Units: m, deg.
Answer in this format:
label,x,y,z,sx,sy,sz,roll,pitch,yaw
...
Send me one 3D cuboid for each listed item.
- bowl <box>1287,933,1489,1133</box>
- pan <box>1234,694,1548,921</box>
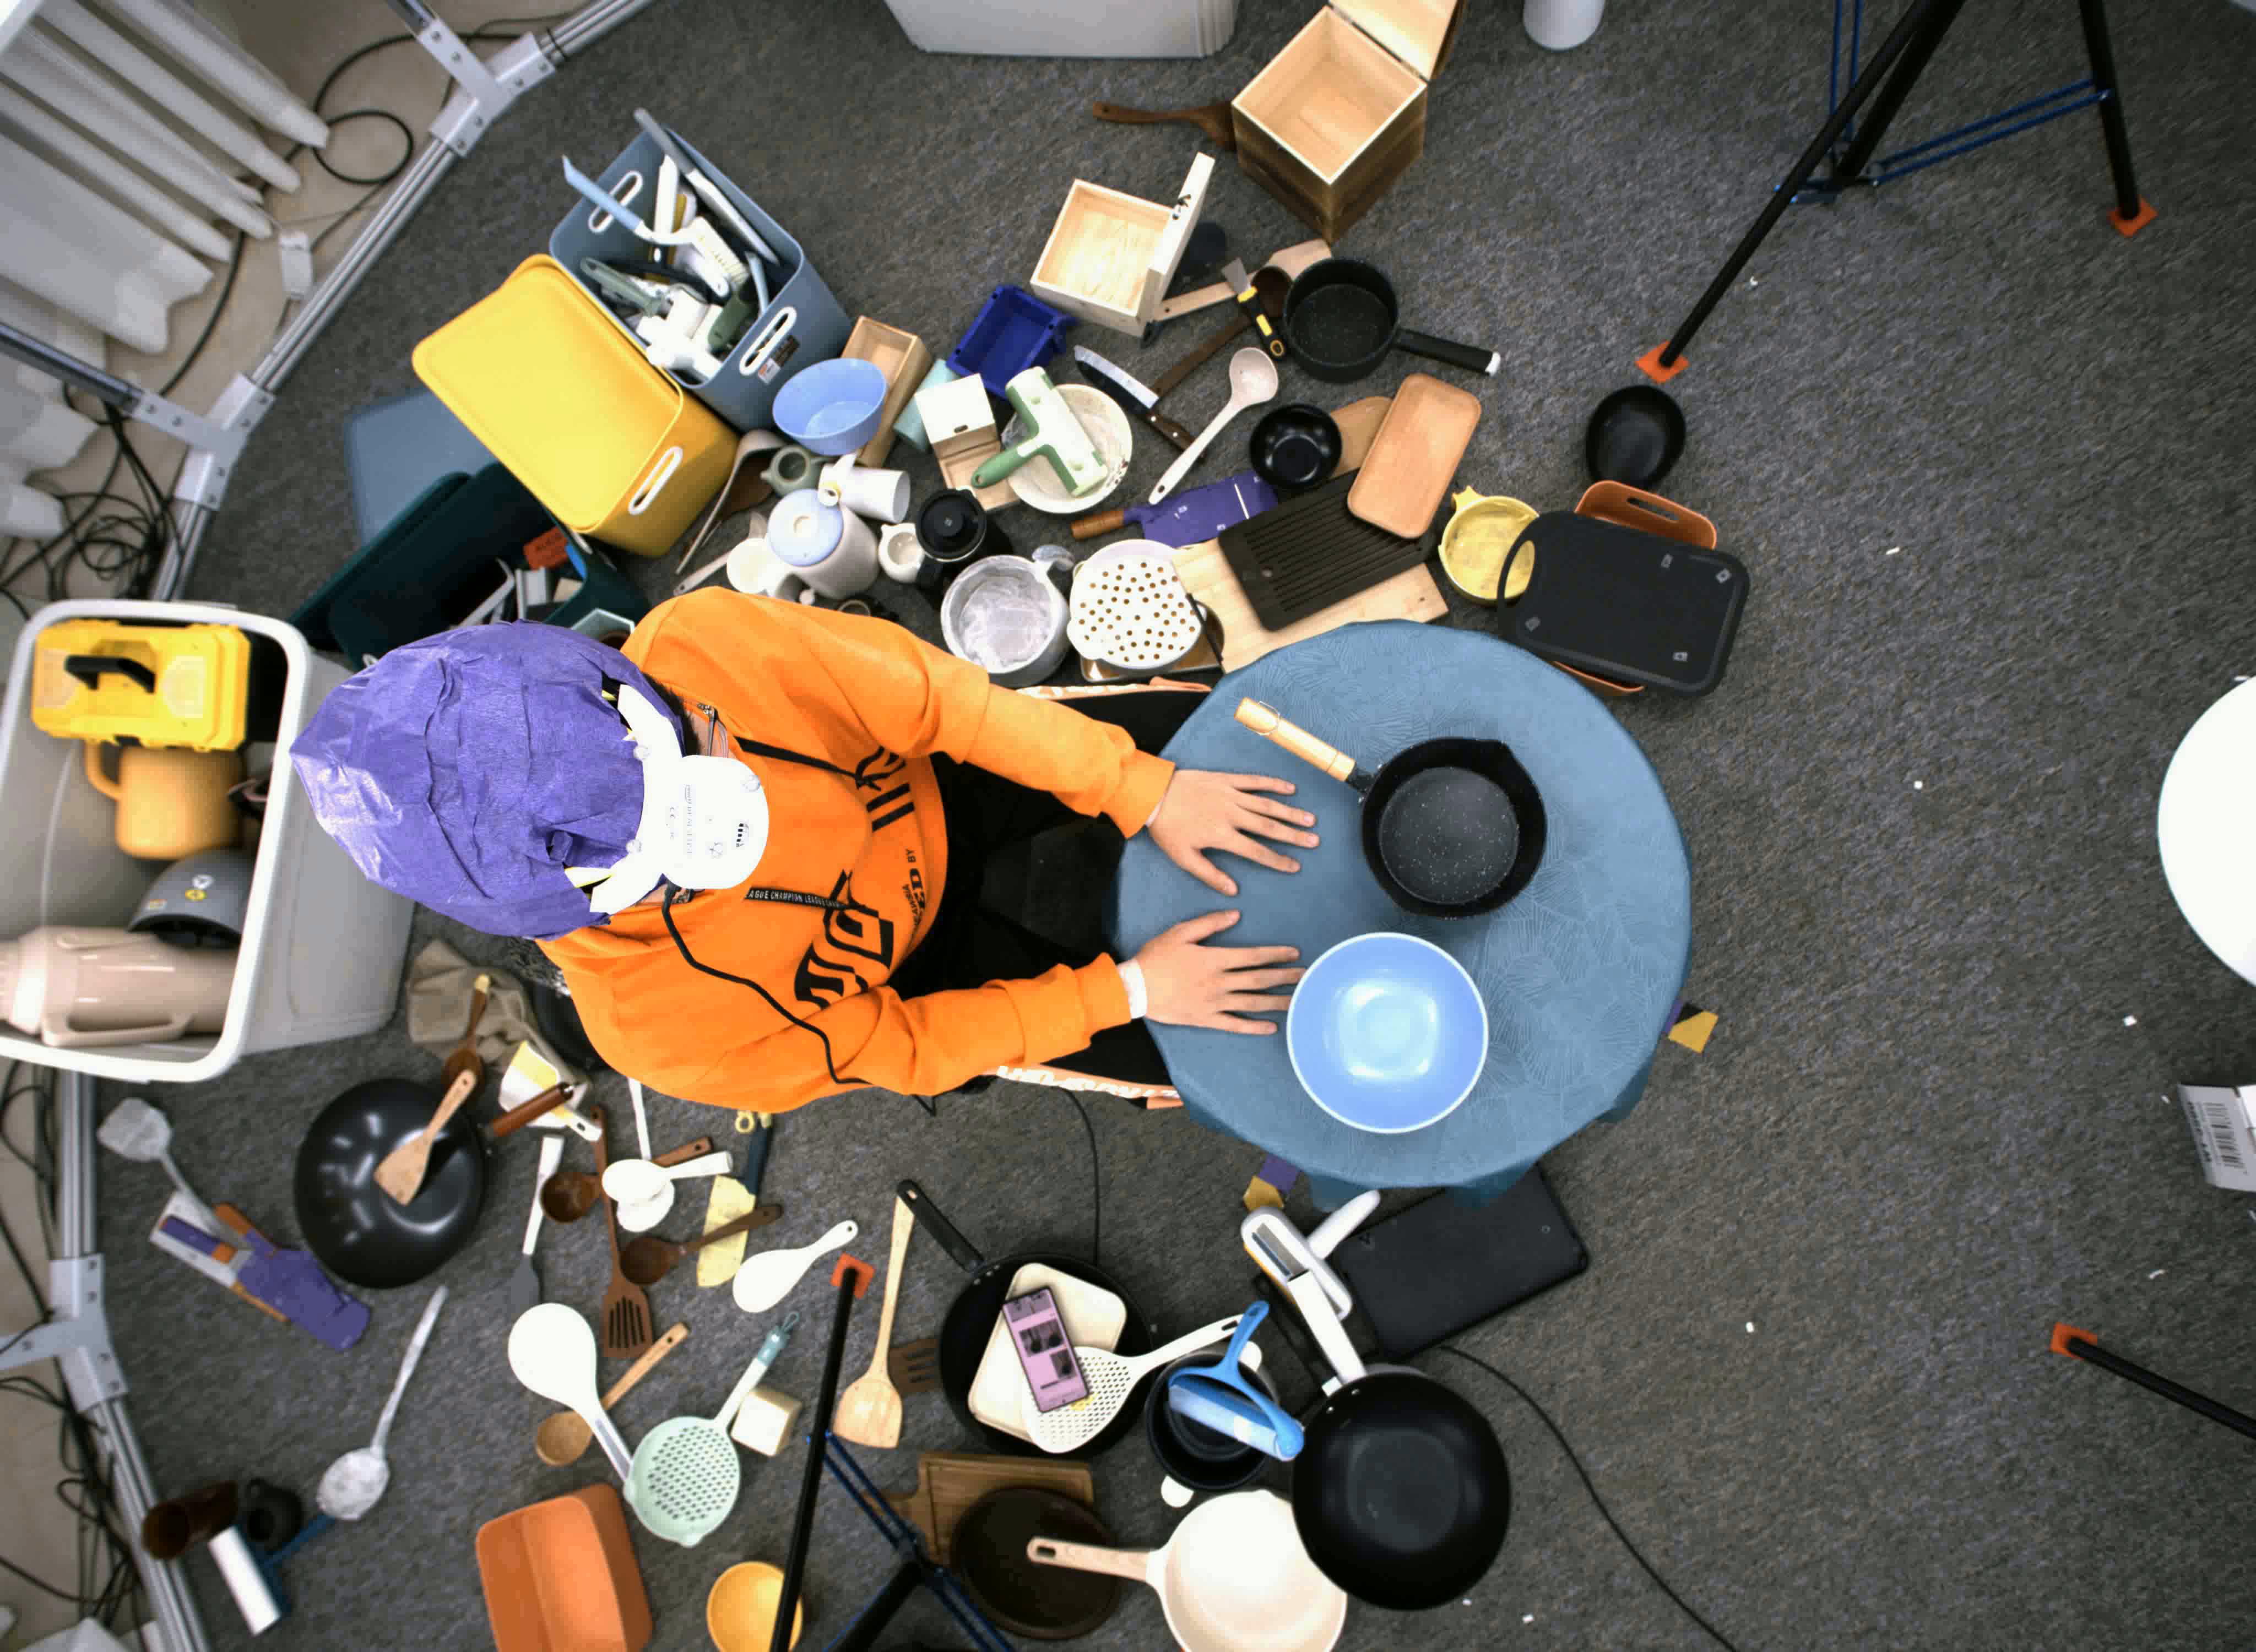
label,x,y,z,sx,sy,sz,roll,pitch,yaw
bowl,0.262,0.206,1.405,0.197,0.095,0.196,-1,87,10
pan,0.261,-0.035,1.413,0.342,0.108,0.208,29,93,10
